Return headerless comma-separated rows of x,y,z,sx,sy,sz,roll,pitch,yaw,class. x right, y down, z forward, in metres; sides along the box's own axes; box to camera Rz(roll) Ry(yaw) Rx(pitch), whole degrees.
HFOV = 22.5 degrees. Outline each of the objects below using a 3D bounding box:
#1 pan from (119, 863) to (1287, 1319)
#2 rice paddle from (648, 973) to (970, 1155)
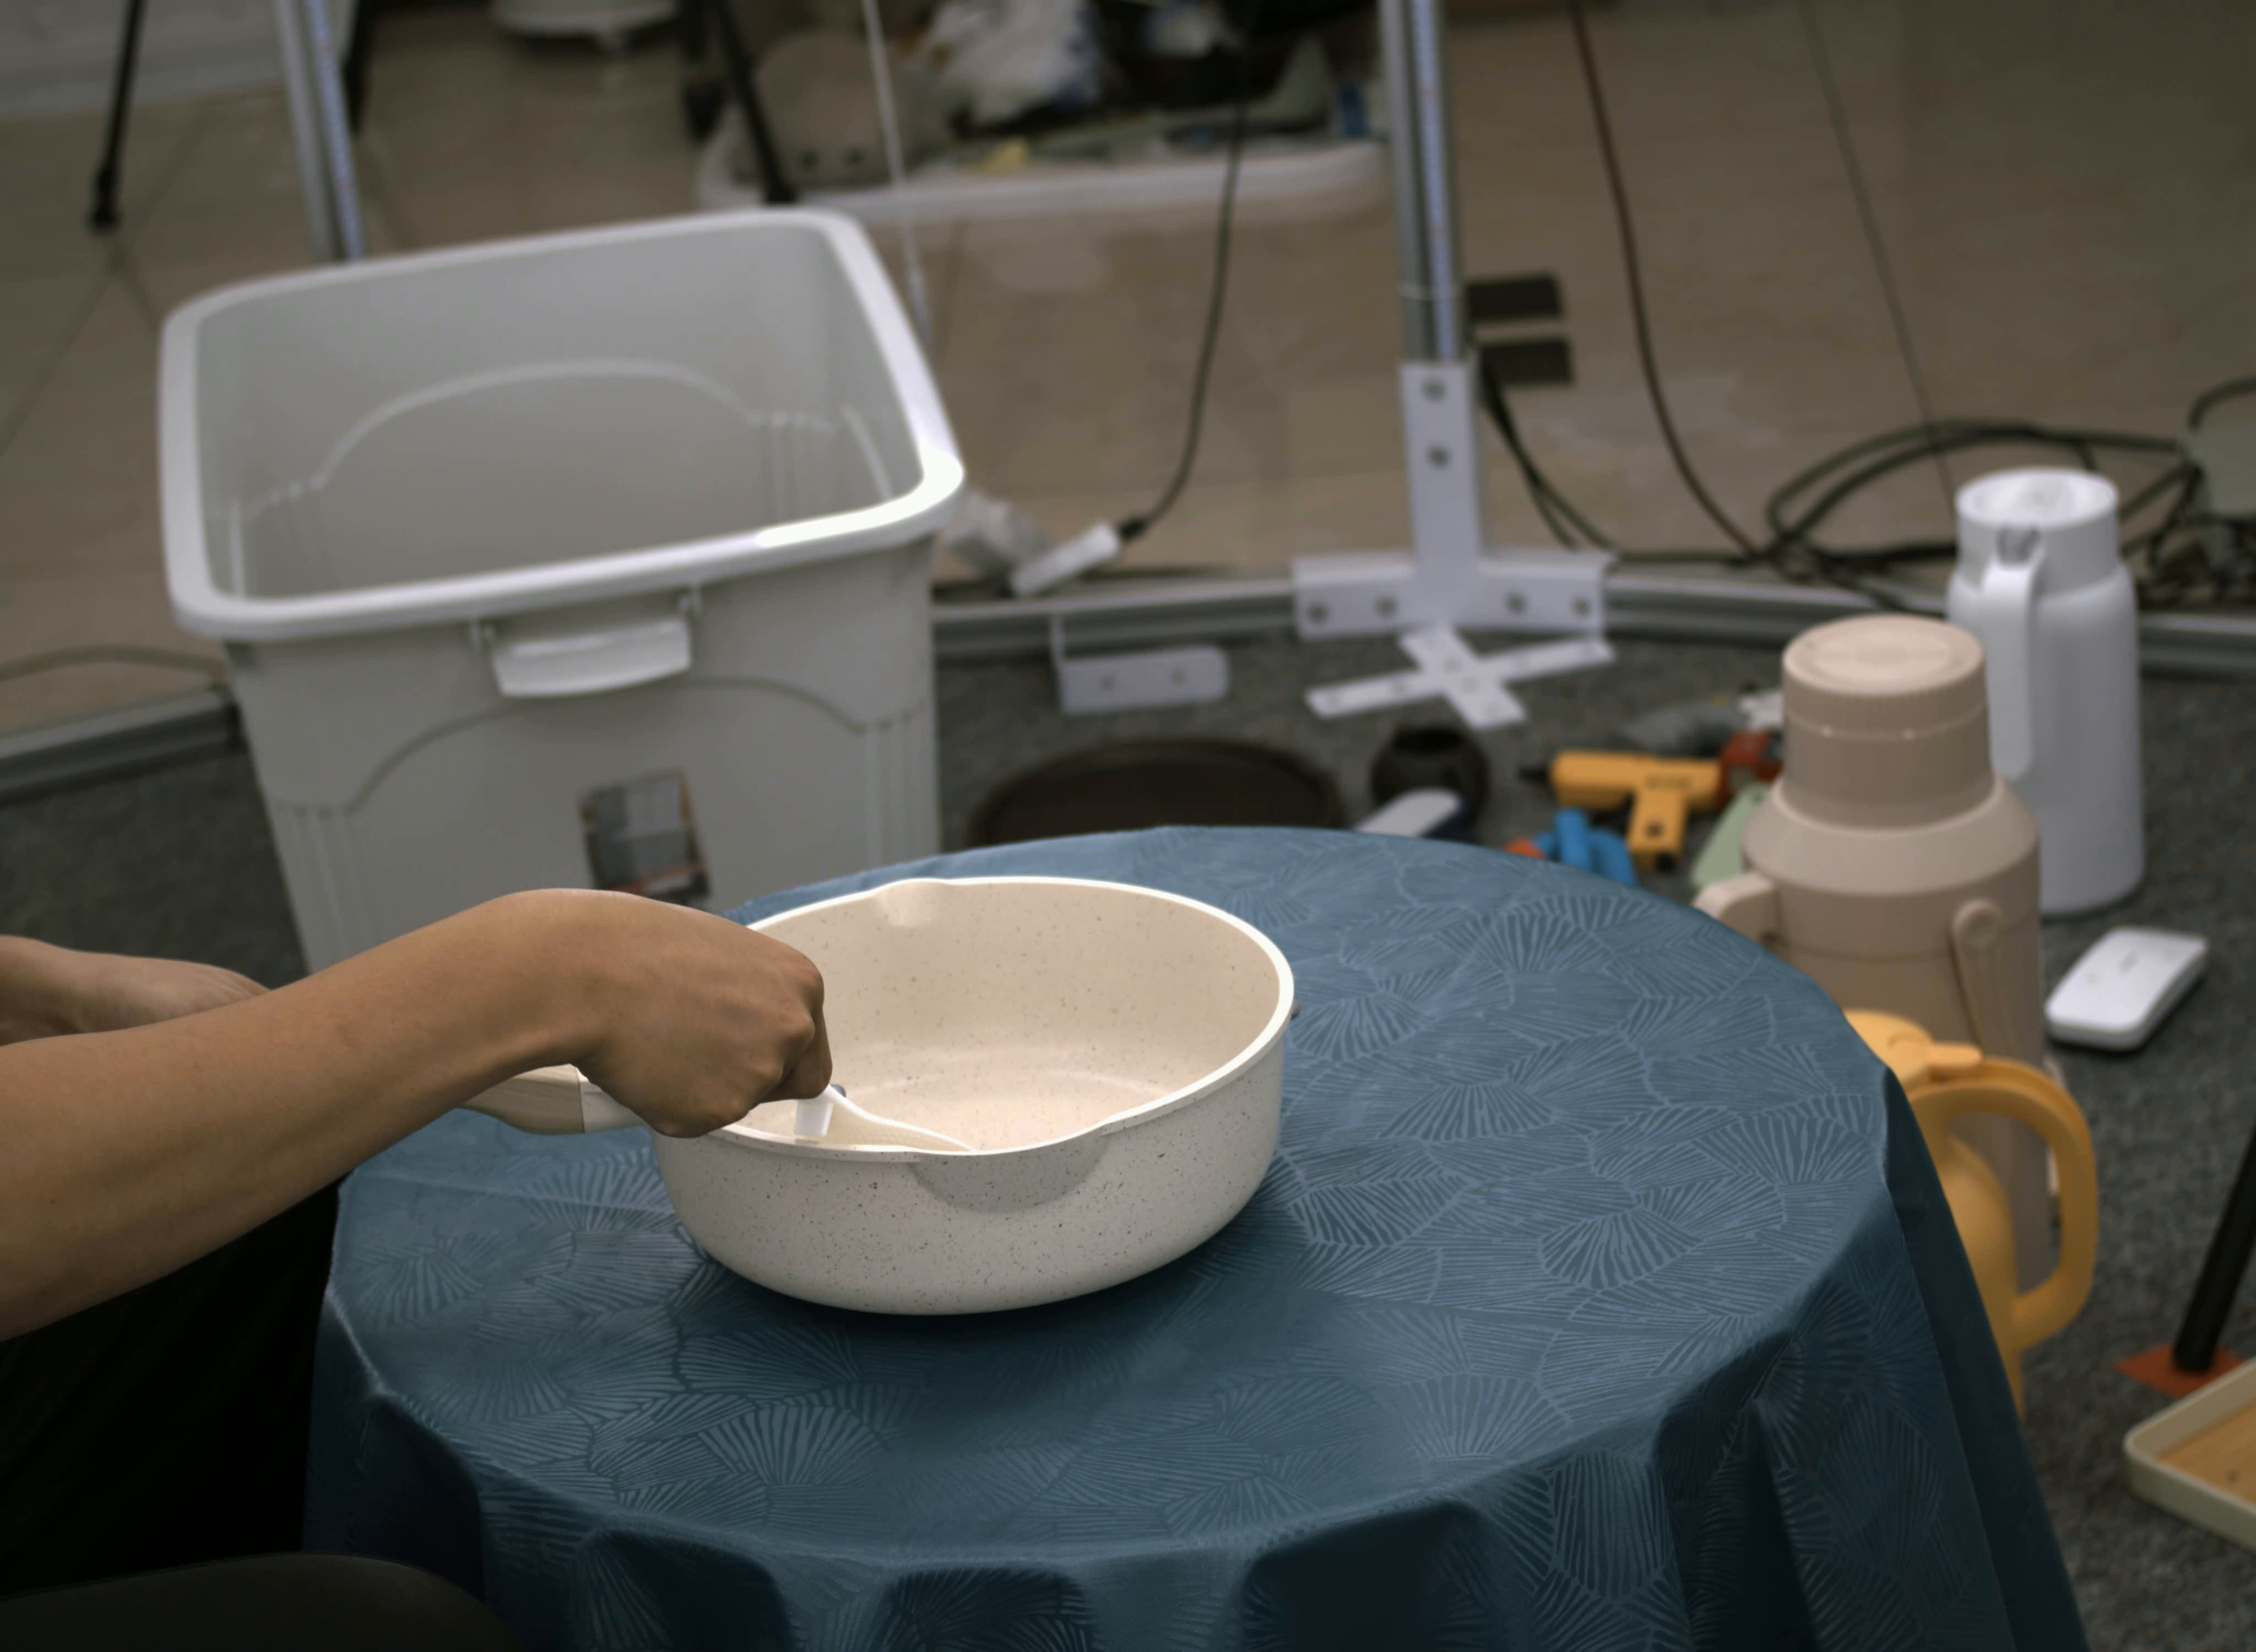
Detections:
-0.153,0.110,2.121,0.434,0.103,0.259,-9,25,-8,pan
-0.110,0.099,2.024,0.068,0.207,0.029,3,72,26,rice paddle
